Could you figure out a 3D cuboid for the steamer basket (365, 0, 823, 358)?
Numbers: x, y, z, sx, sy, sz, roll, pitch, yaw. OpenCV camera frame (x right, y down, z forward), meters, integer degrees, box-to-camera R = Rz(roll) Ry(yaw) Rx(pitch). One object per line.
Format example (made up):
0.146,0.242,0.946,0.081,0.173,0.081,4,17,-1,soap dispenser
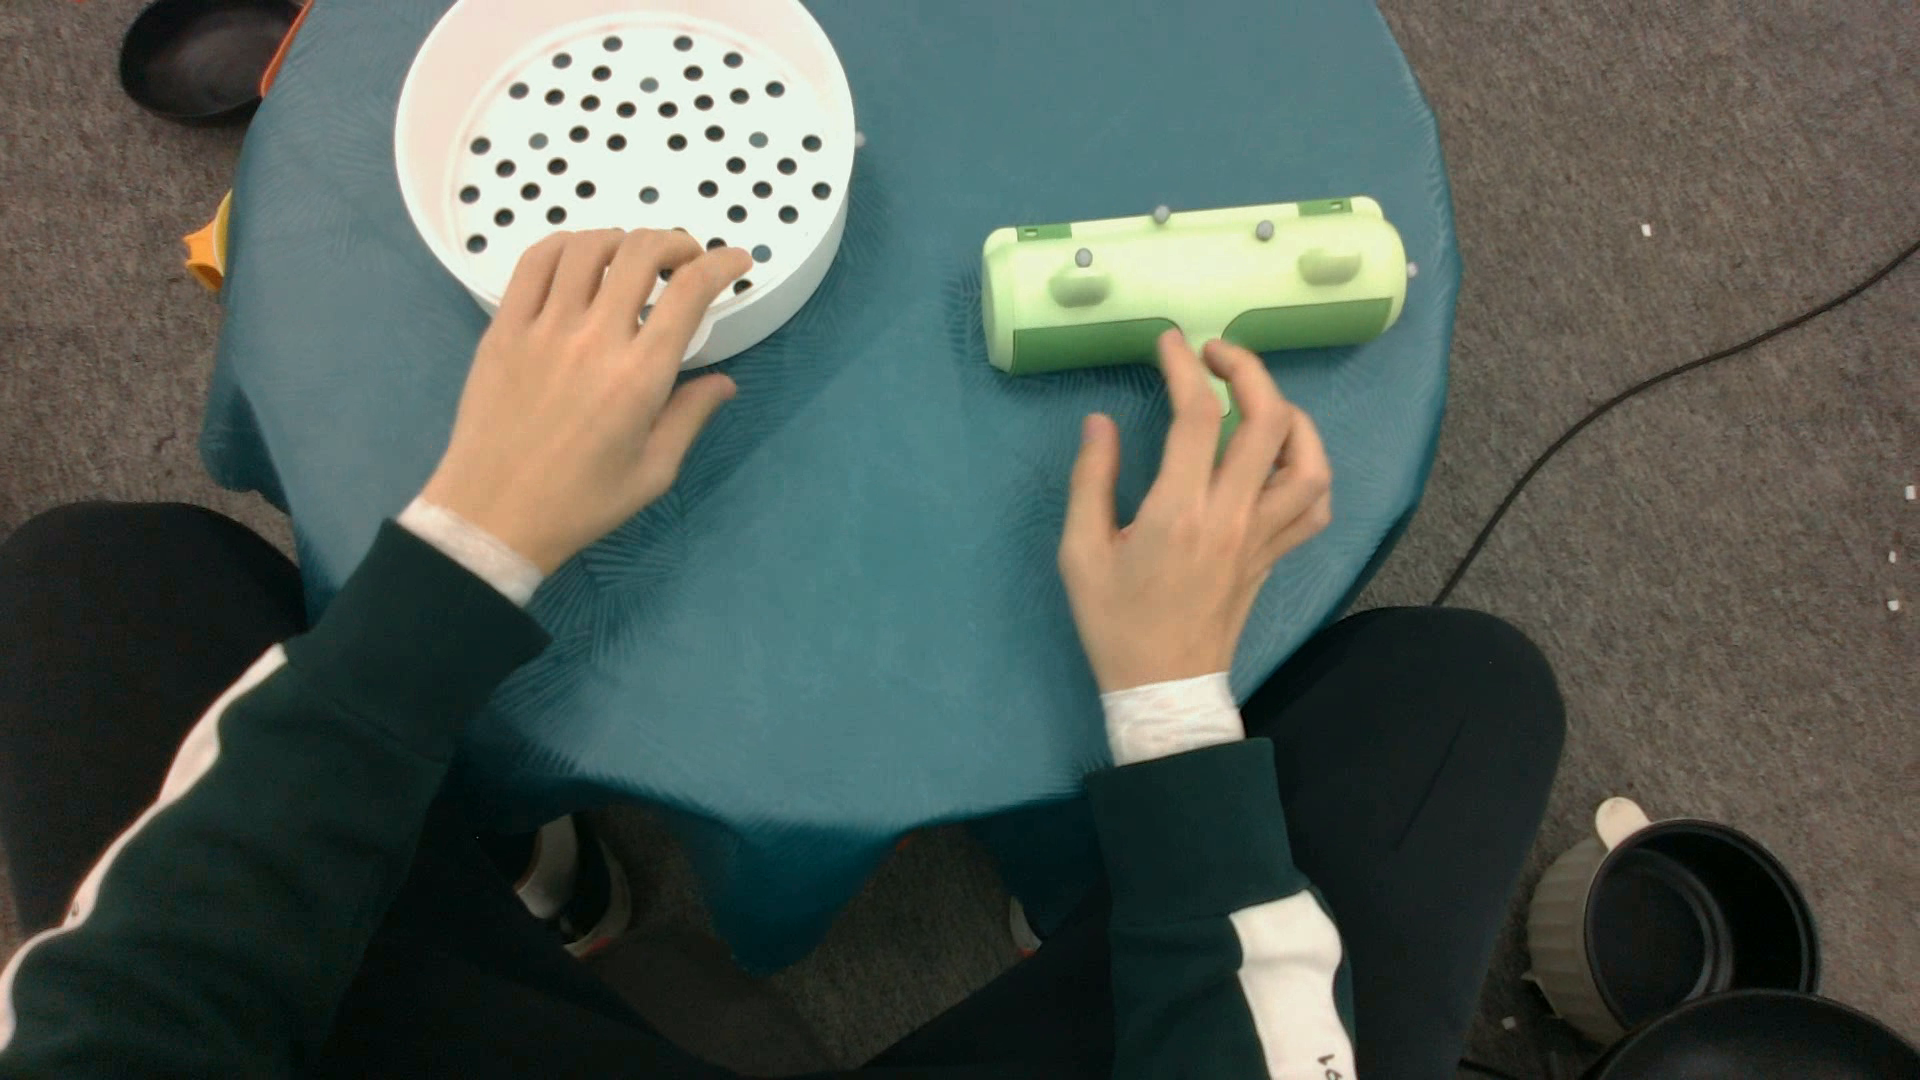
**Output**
-0.165,-0.183,0.643,0.202,0.069,0.231,-4,73,-7,steamer basket

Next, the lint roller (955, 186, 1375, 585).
0.106,-0.076,0.632,0.199,0.082,0.184,-7,71,-7,lint roller
